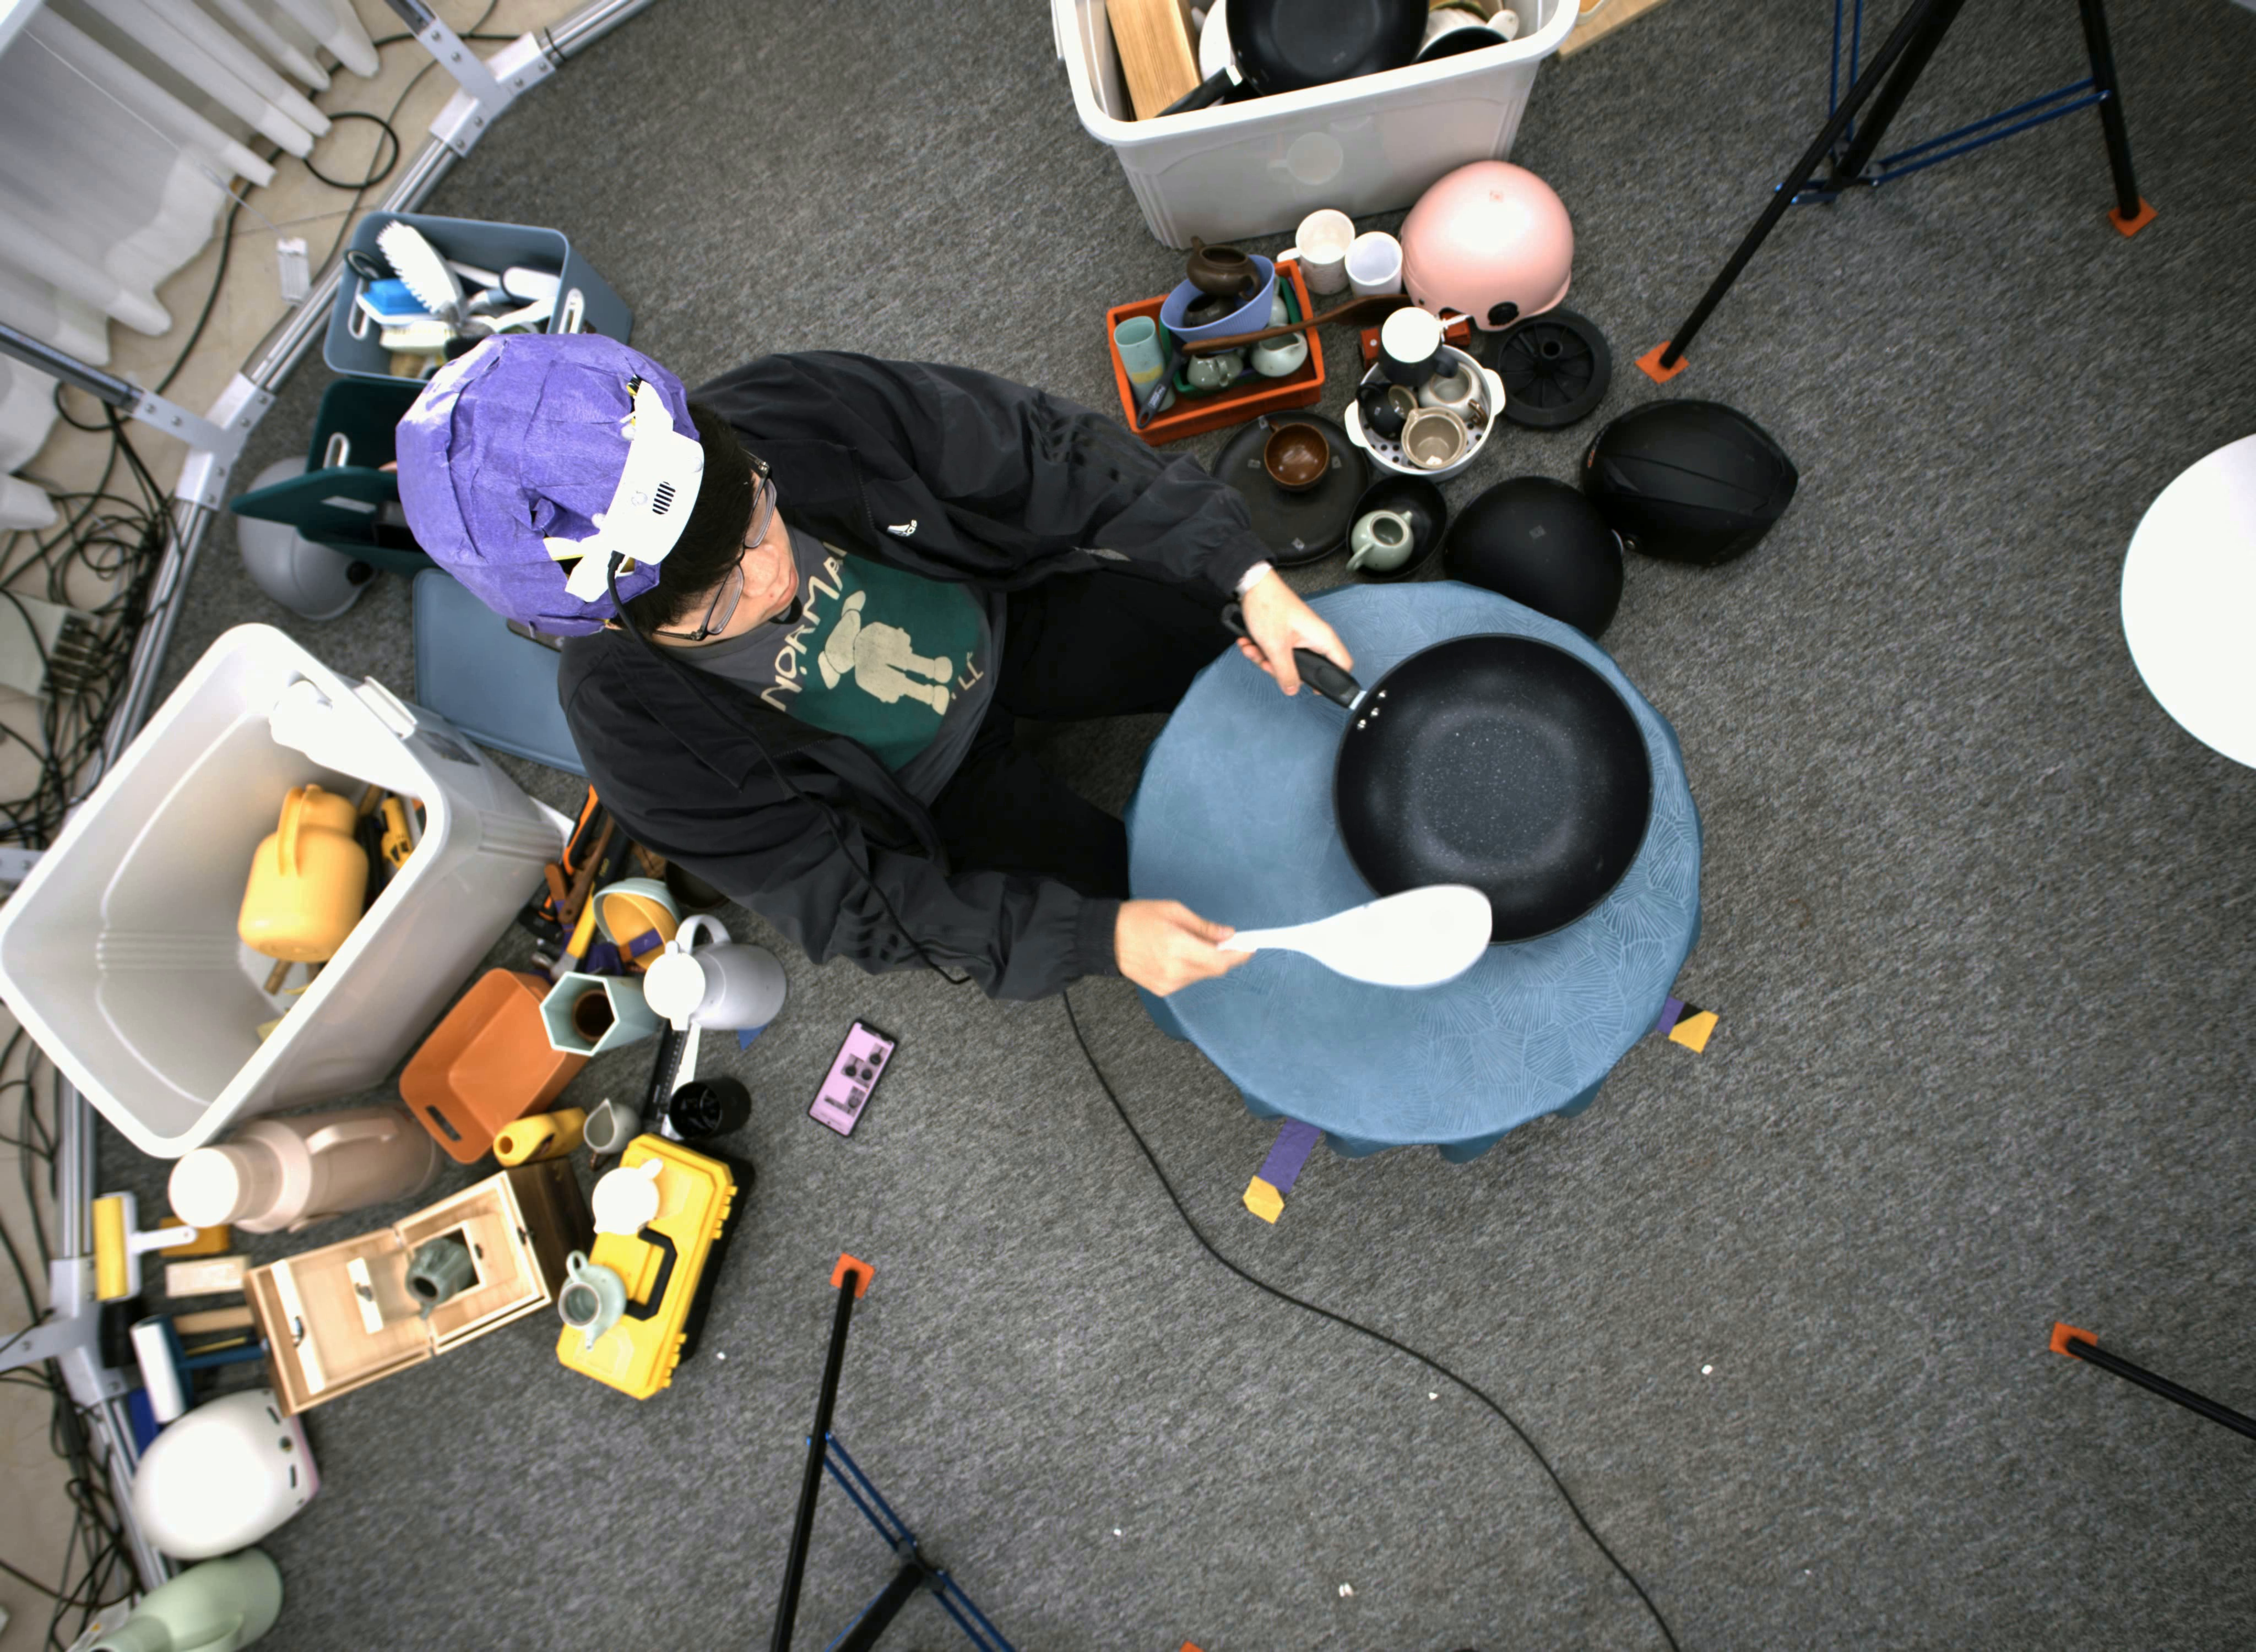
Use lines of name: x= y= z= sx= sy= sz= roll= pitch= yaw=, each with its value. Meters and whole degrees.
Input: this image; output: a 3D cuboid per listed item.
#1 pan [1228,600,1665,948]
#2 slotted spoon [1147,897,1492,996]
pan: x=0.306 y=-0.083 z=1.393 sx=0.475 sy=0.111 sz=0.312 roll=35 pitch=99 yaw=9
slotted spoon: x=0.173 y=0.124 z=1.317 sx=0.350 sy=0.133 sz=0.051 roll=-1 pitch=124 yaw=27
